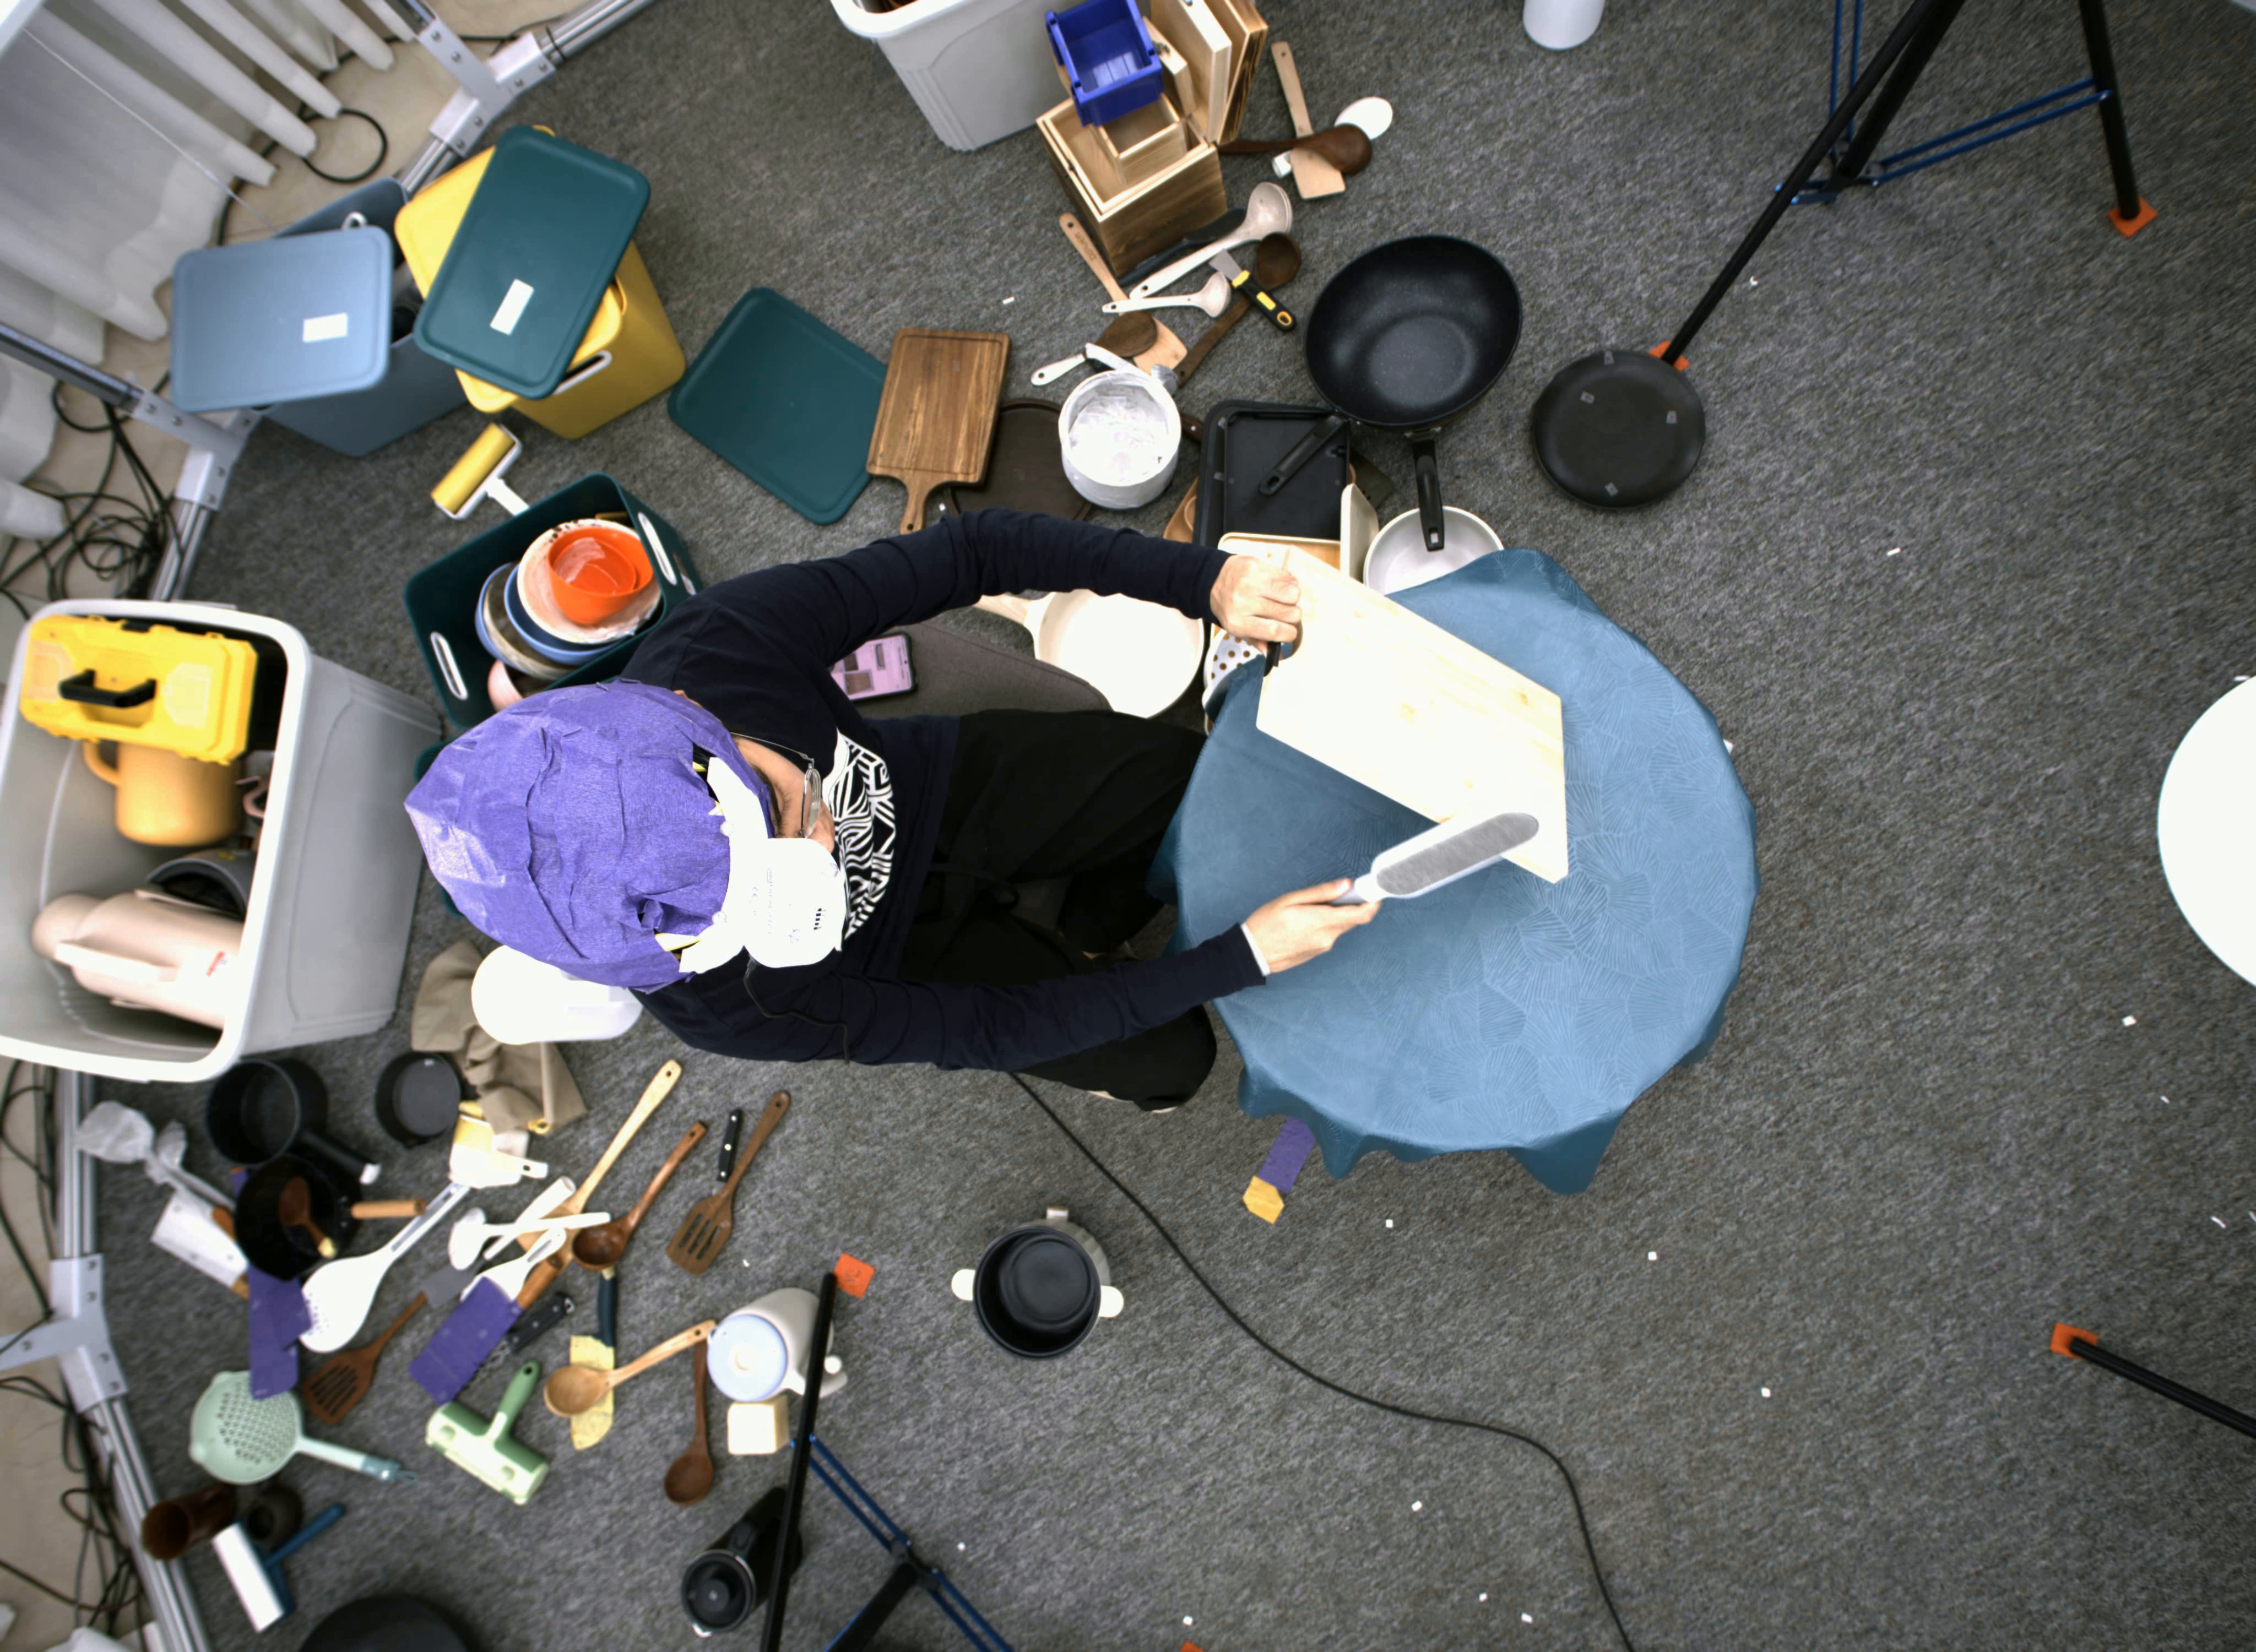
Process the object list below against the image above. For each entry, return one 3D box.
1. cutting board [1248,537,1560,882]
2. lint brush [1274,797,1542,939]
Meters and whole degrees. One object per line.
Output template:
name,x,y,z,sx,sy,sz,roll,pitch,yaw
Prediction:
cutting board,0.276,-0.114,1.315,0.350,0.024,0.244,25,51,-17
lint brush,0.254,0.044,1.304,0.315,0.060,0.020,-31,40,40
